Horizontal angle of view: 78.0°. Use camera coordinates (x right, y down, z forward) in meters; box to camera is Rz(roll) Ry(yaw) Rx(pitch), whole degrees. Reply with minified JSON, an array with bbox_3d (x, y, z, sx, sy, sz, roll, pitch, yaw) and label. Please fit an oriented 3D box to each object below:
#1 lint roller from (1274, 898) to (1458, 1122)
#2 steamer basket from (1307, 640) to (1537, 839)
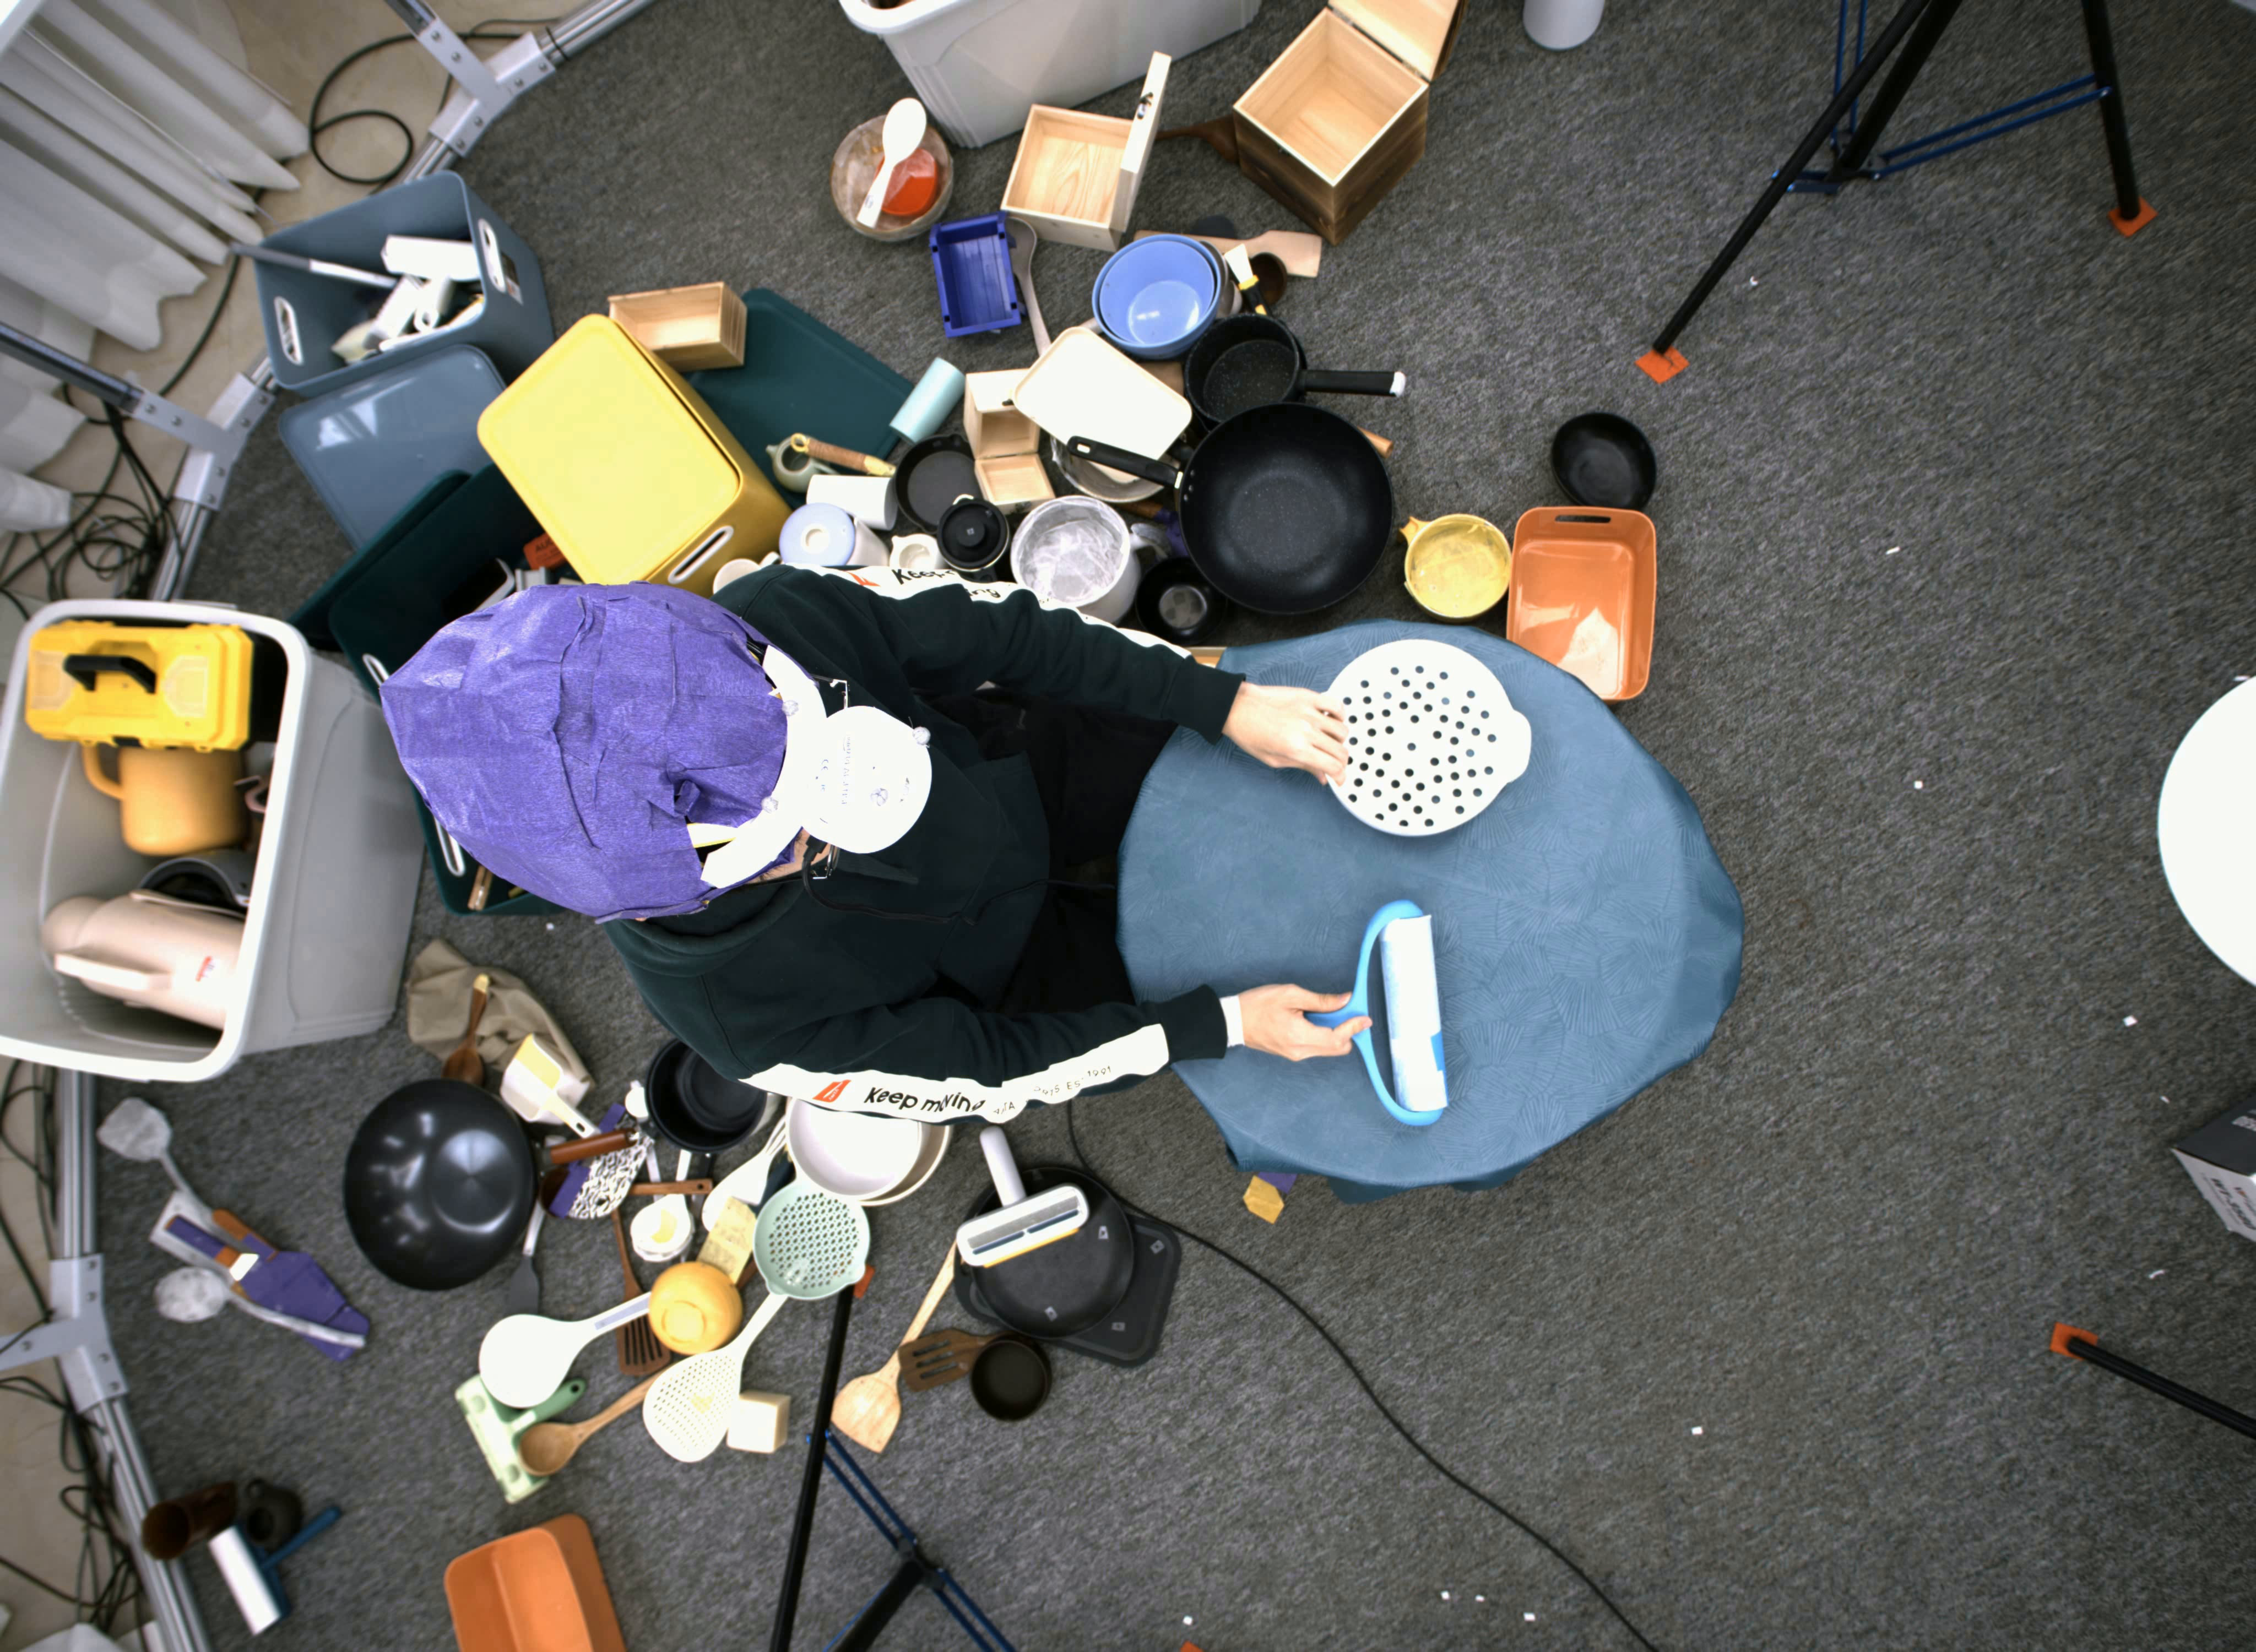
[{"bbox_3d":[0.236,0.196,1.413,0.181,0.067,0.229,-11,93,12],"label":"lint roller"},{"bbox_3d":[0.300,-0.089,1.418,0.231,0.069,0.200,6,83,9],"label":"steamer basket"}]
